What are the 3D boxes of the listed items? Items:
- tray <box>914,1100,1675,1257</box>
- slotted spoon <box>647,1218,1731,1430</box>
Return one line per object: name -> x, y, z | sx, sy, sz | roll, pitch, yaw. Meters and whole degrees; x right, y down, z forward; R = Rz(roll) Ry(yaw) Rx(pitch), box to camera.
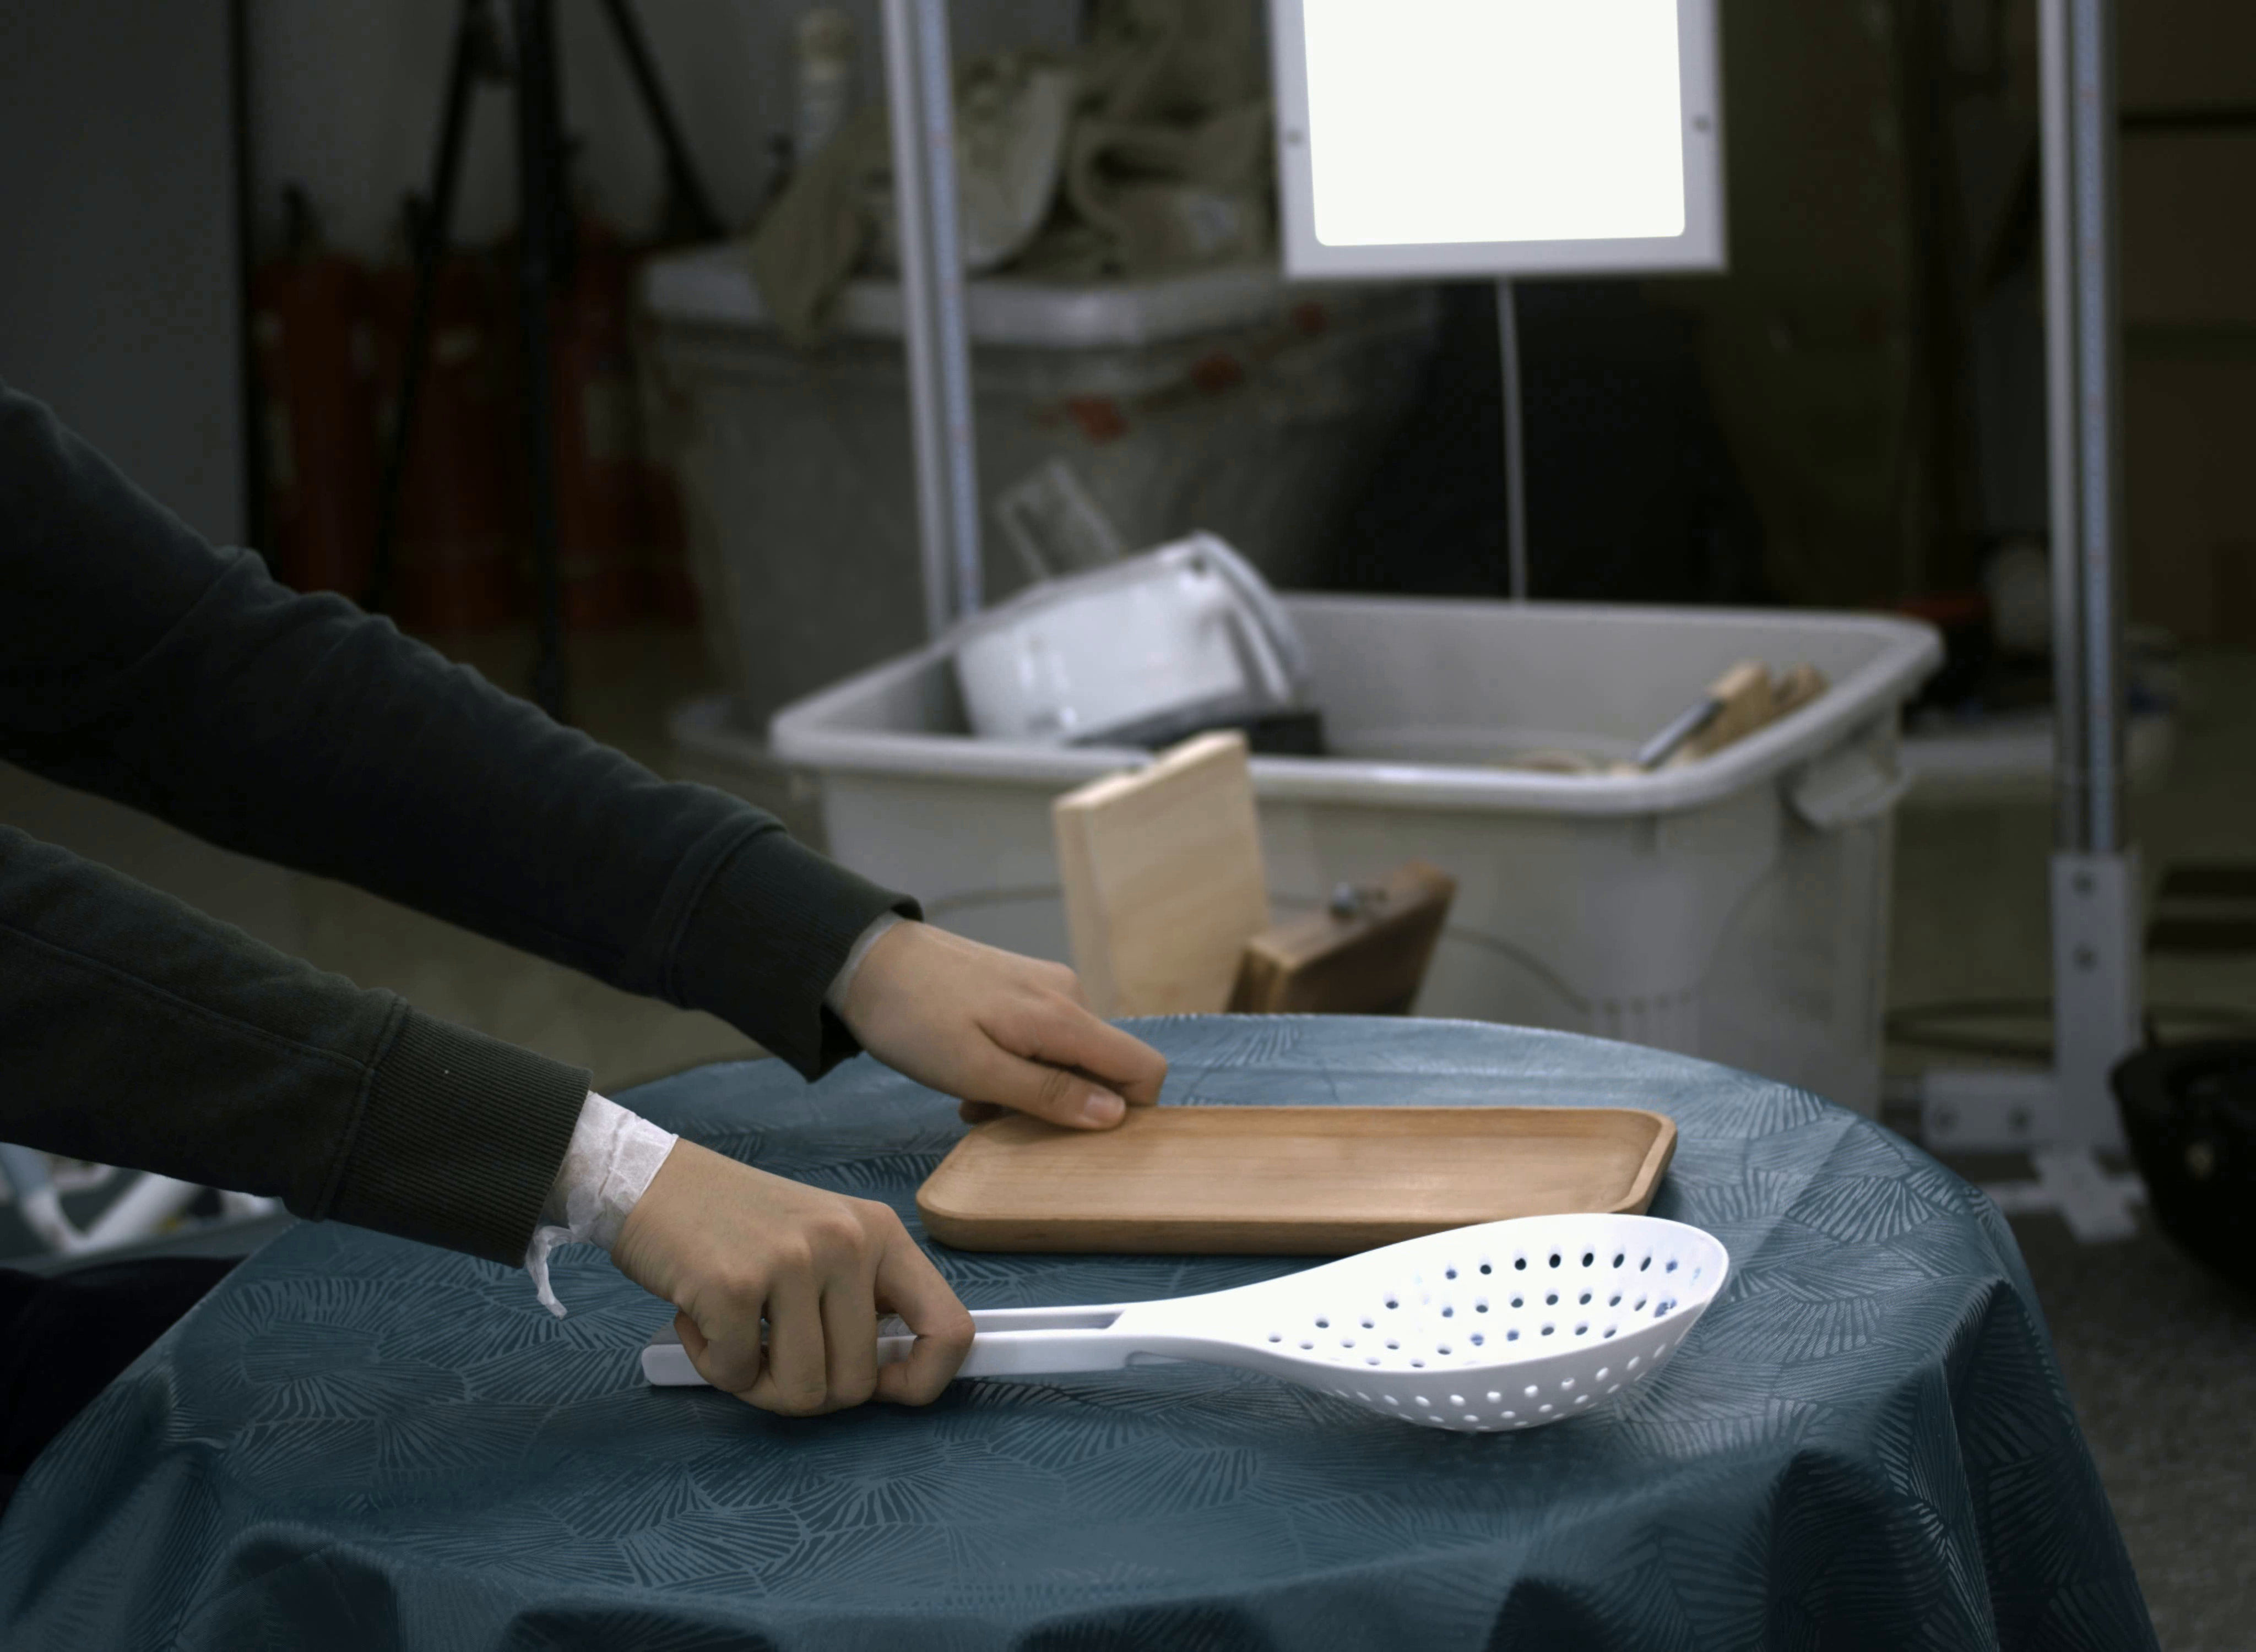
tray -> 0.058, 0.119, 1.870 | 0.253, 0.023, 0.128 | -1, 12, 17
slotted spoon -> 0.014, 0.154, 1.684 | 0.354, 0.046, 0.133 | 0, 14, 22
